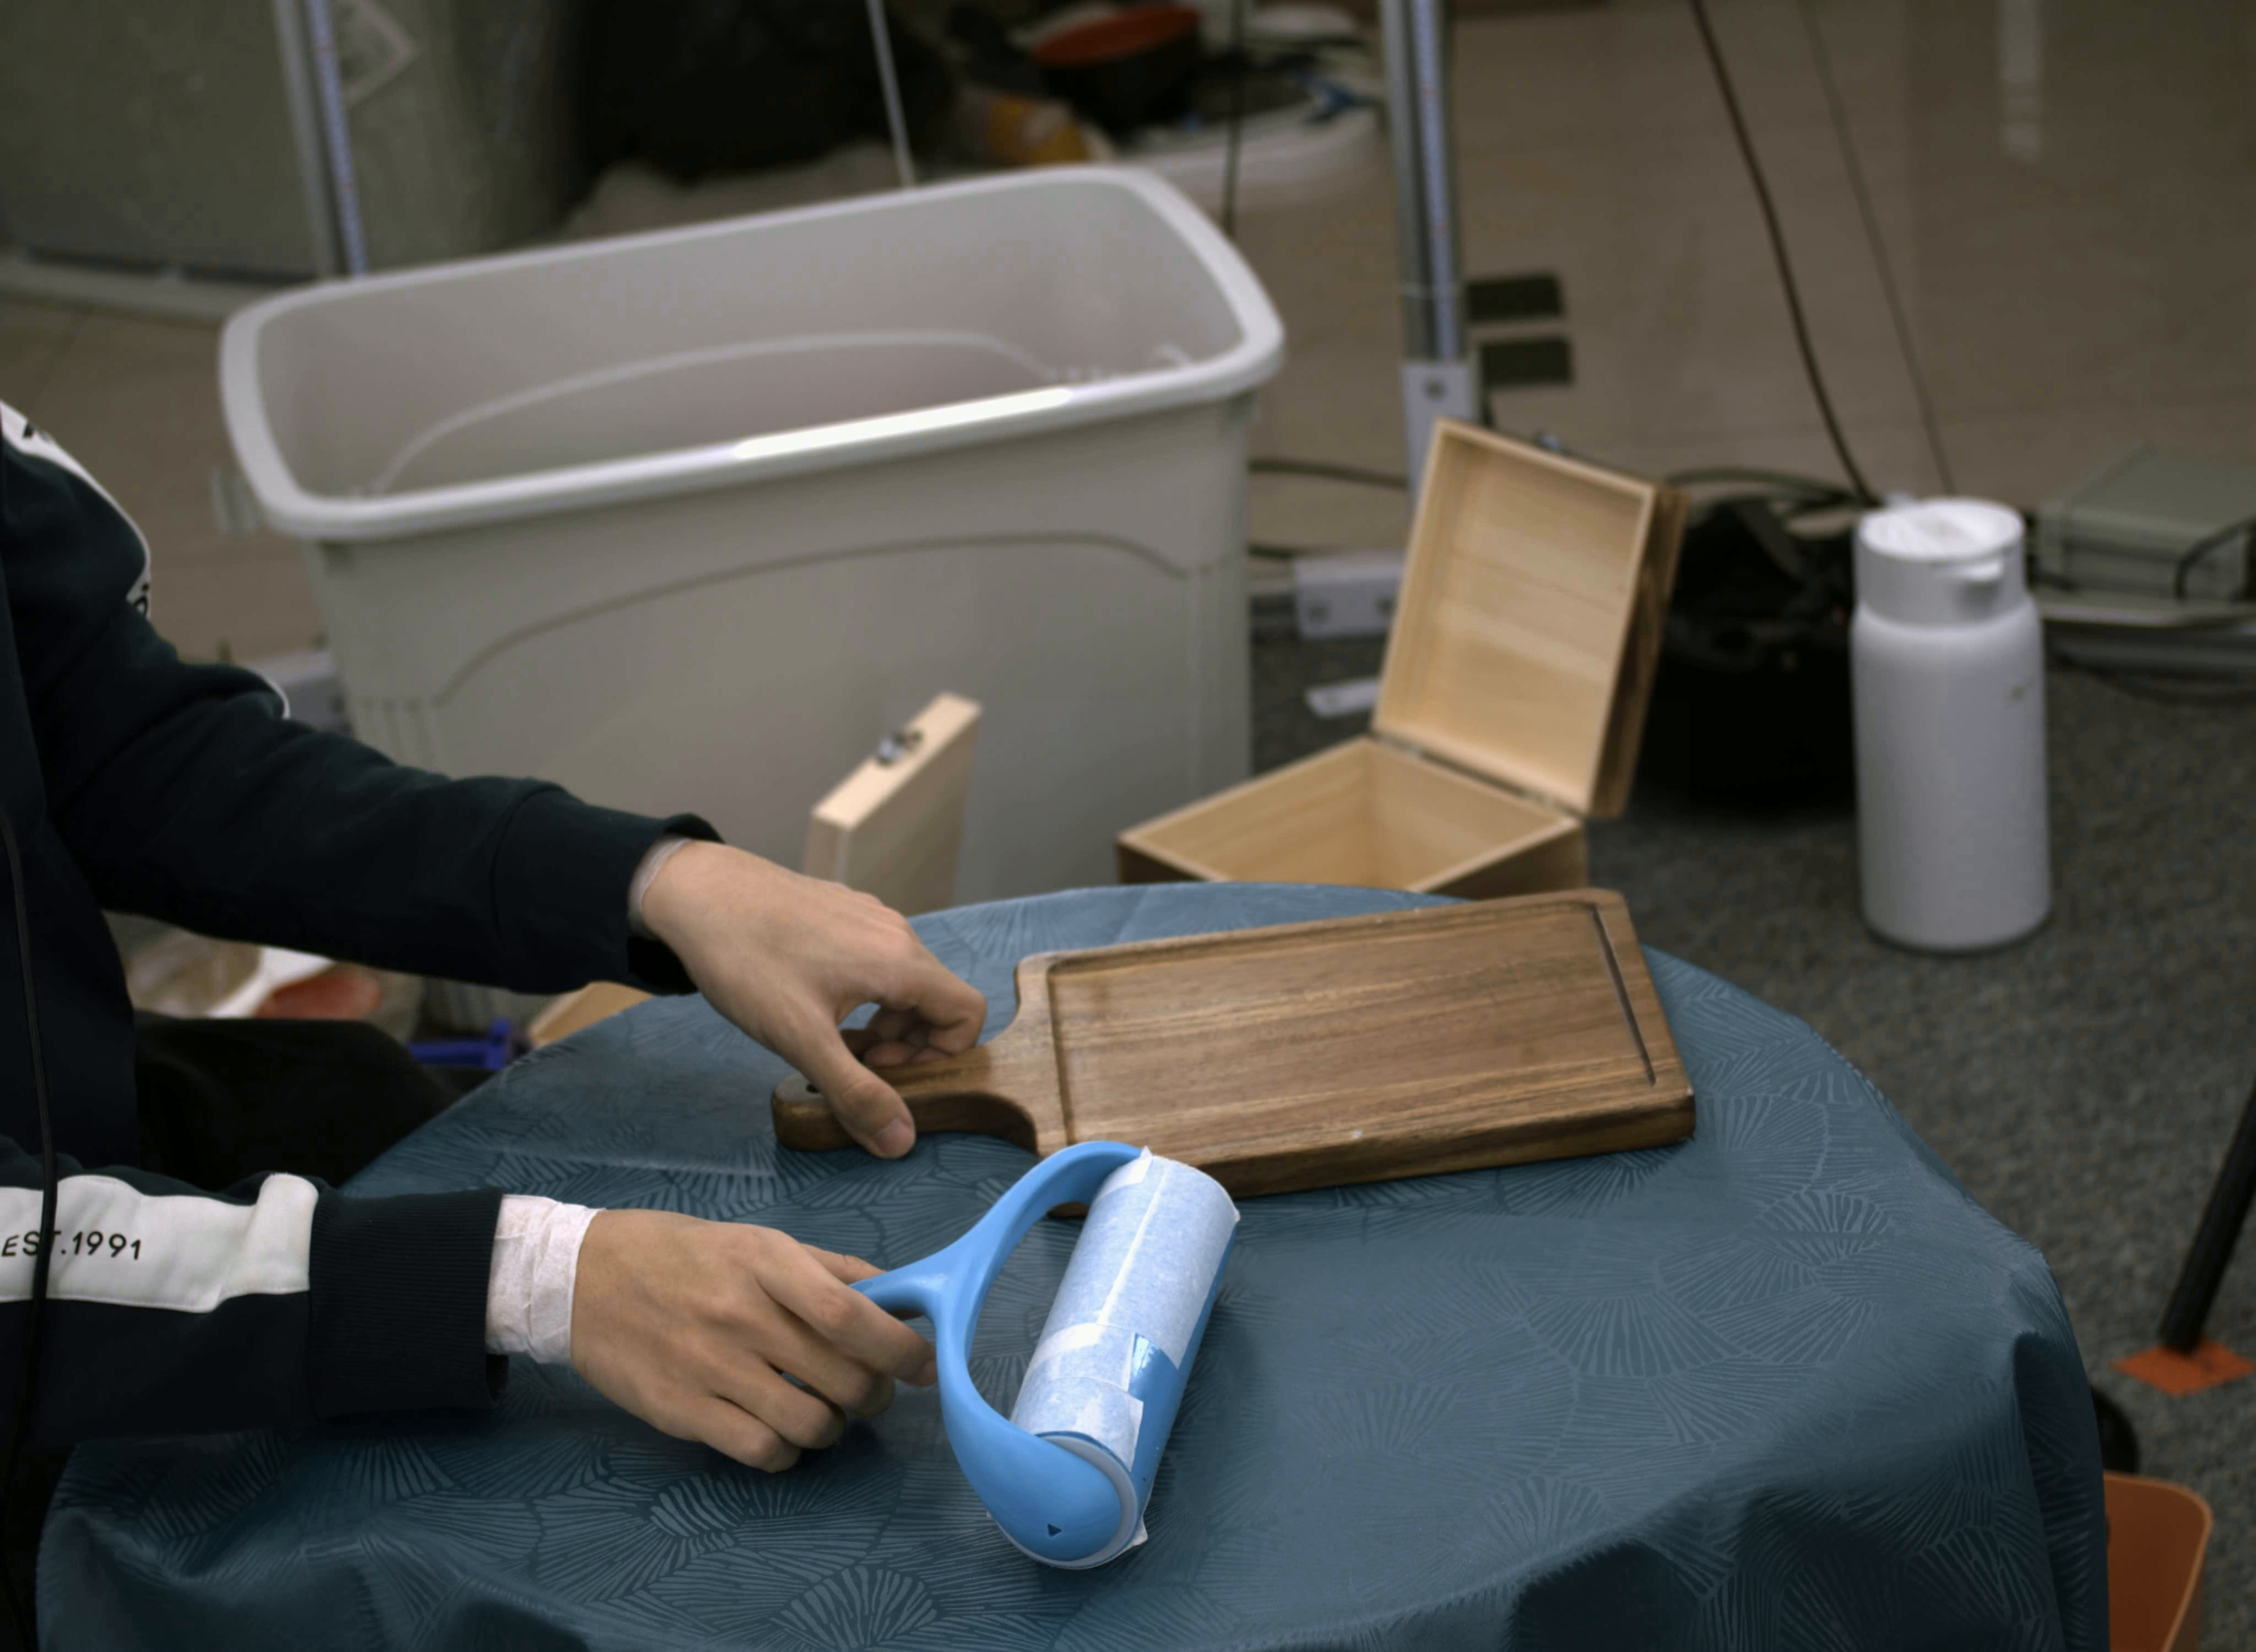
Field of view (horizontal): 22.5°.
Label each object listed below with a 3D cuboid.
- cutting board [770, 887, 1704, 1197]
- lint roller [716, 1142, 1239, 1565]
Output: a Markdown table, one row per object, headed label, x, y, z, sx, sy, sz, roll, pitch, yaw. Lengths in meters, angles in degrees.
| label | x | y | z | sx | sy | sz | roll | pitch | yaw |
| --- | --- | --- | --- | --- | --- | --- | --- | --- | --- |
| cutting board | 0.036 | 0.091 | 2.211 | 0.351 | 0.023 | 0.198 | -7 | 24 | -2 |
| lint roller | -0.061 | 0.185 | 1.993 | 0.180 | 0.069 | 0.225 | -1 | 27 | 9 |
